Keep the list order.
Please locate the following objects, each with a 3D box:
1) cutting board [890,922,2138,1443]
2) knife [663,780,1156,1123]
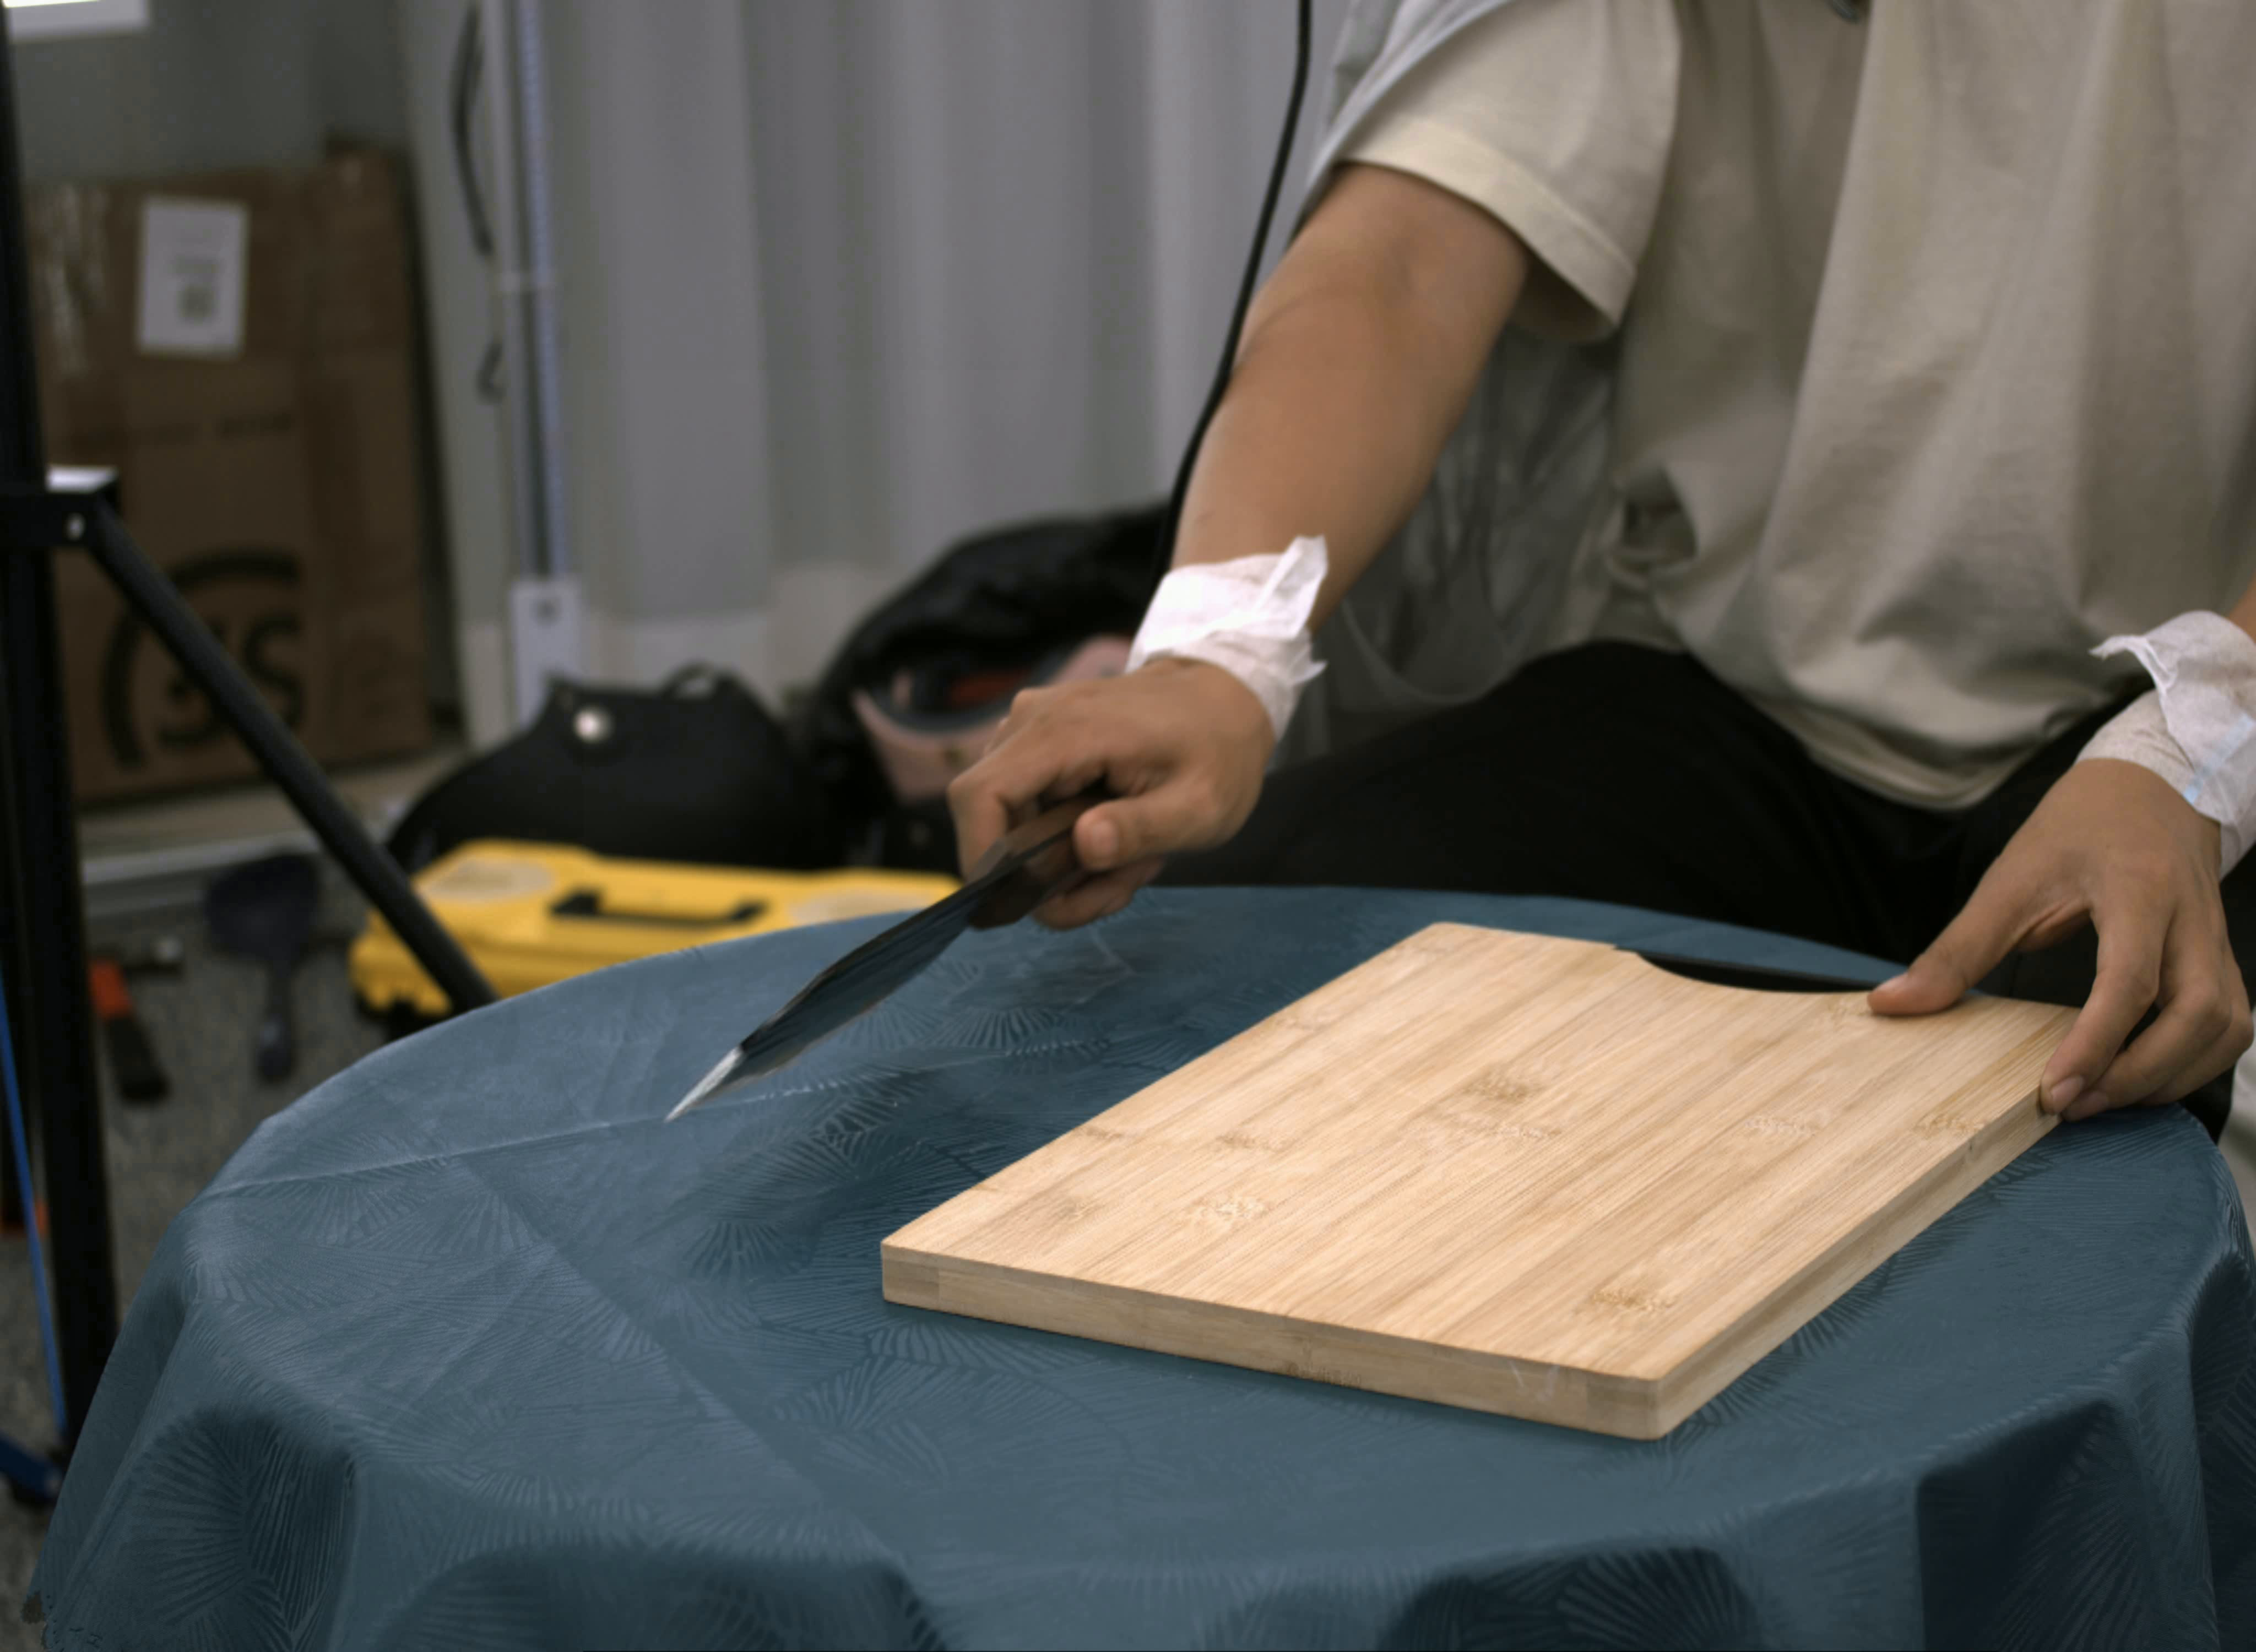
[{"bbox_3d":[0.122,0.095,1.553,0.255,0.023,0.342,7,18,30],"label":"cutting board"},{"bbox_3d":[-0.064,0.038,1.653,0.024,0.068,0.295,47,25,6],"label":"knife"}]
